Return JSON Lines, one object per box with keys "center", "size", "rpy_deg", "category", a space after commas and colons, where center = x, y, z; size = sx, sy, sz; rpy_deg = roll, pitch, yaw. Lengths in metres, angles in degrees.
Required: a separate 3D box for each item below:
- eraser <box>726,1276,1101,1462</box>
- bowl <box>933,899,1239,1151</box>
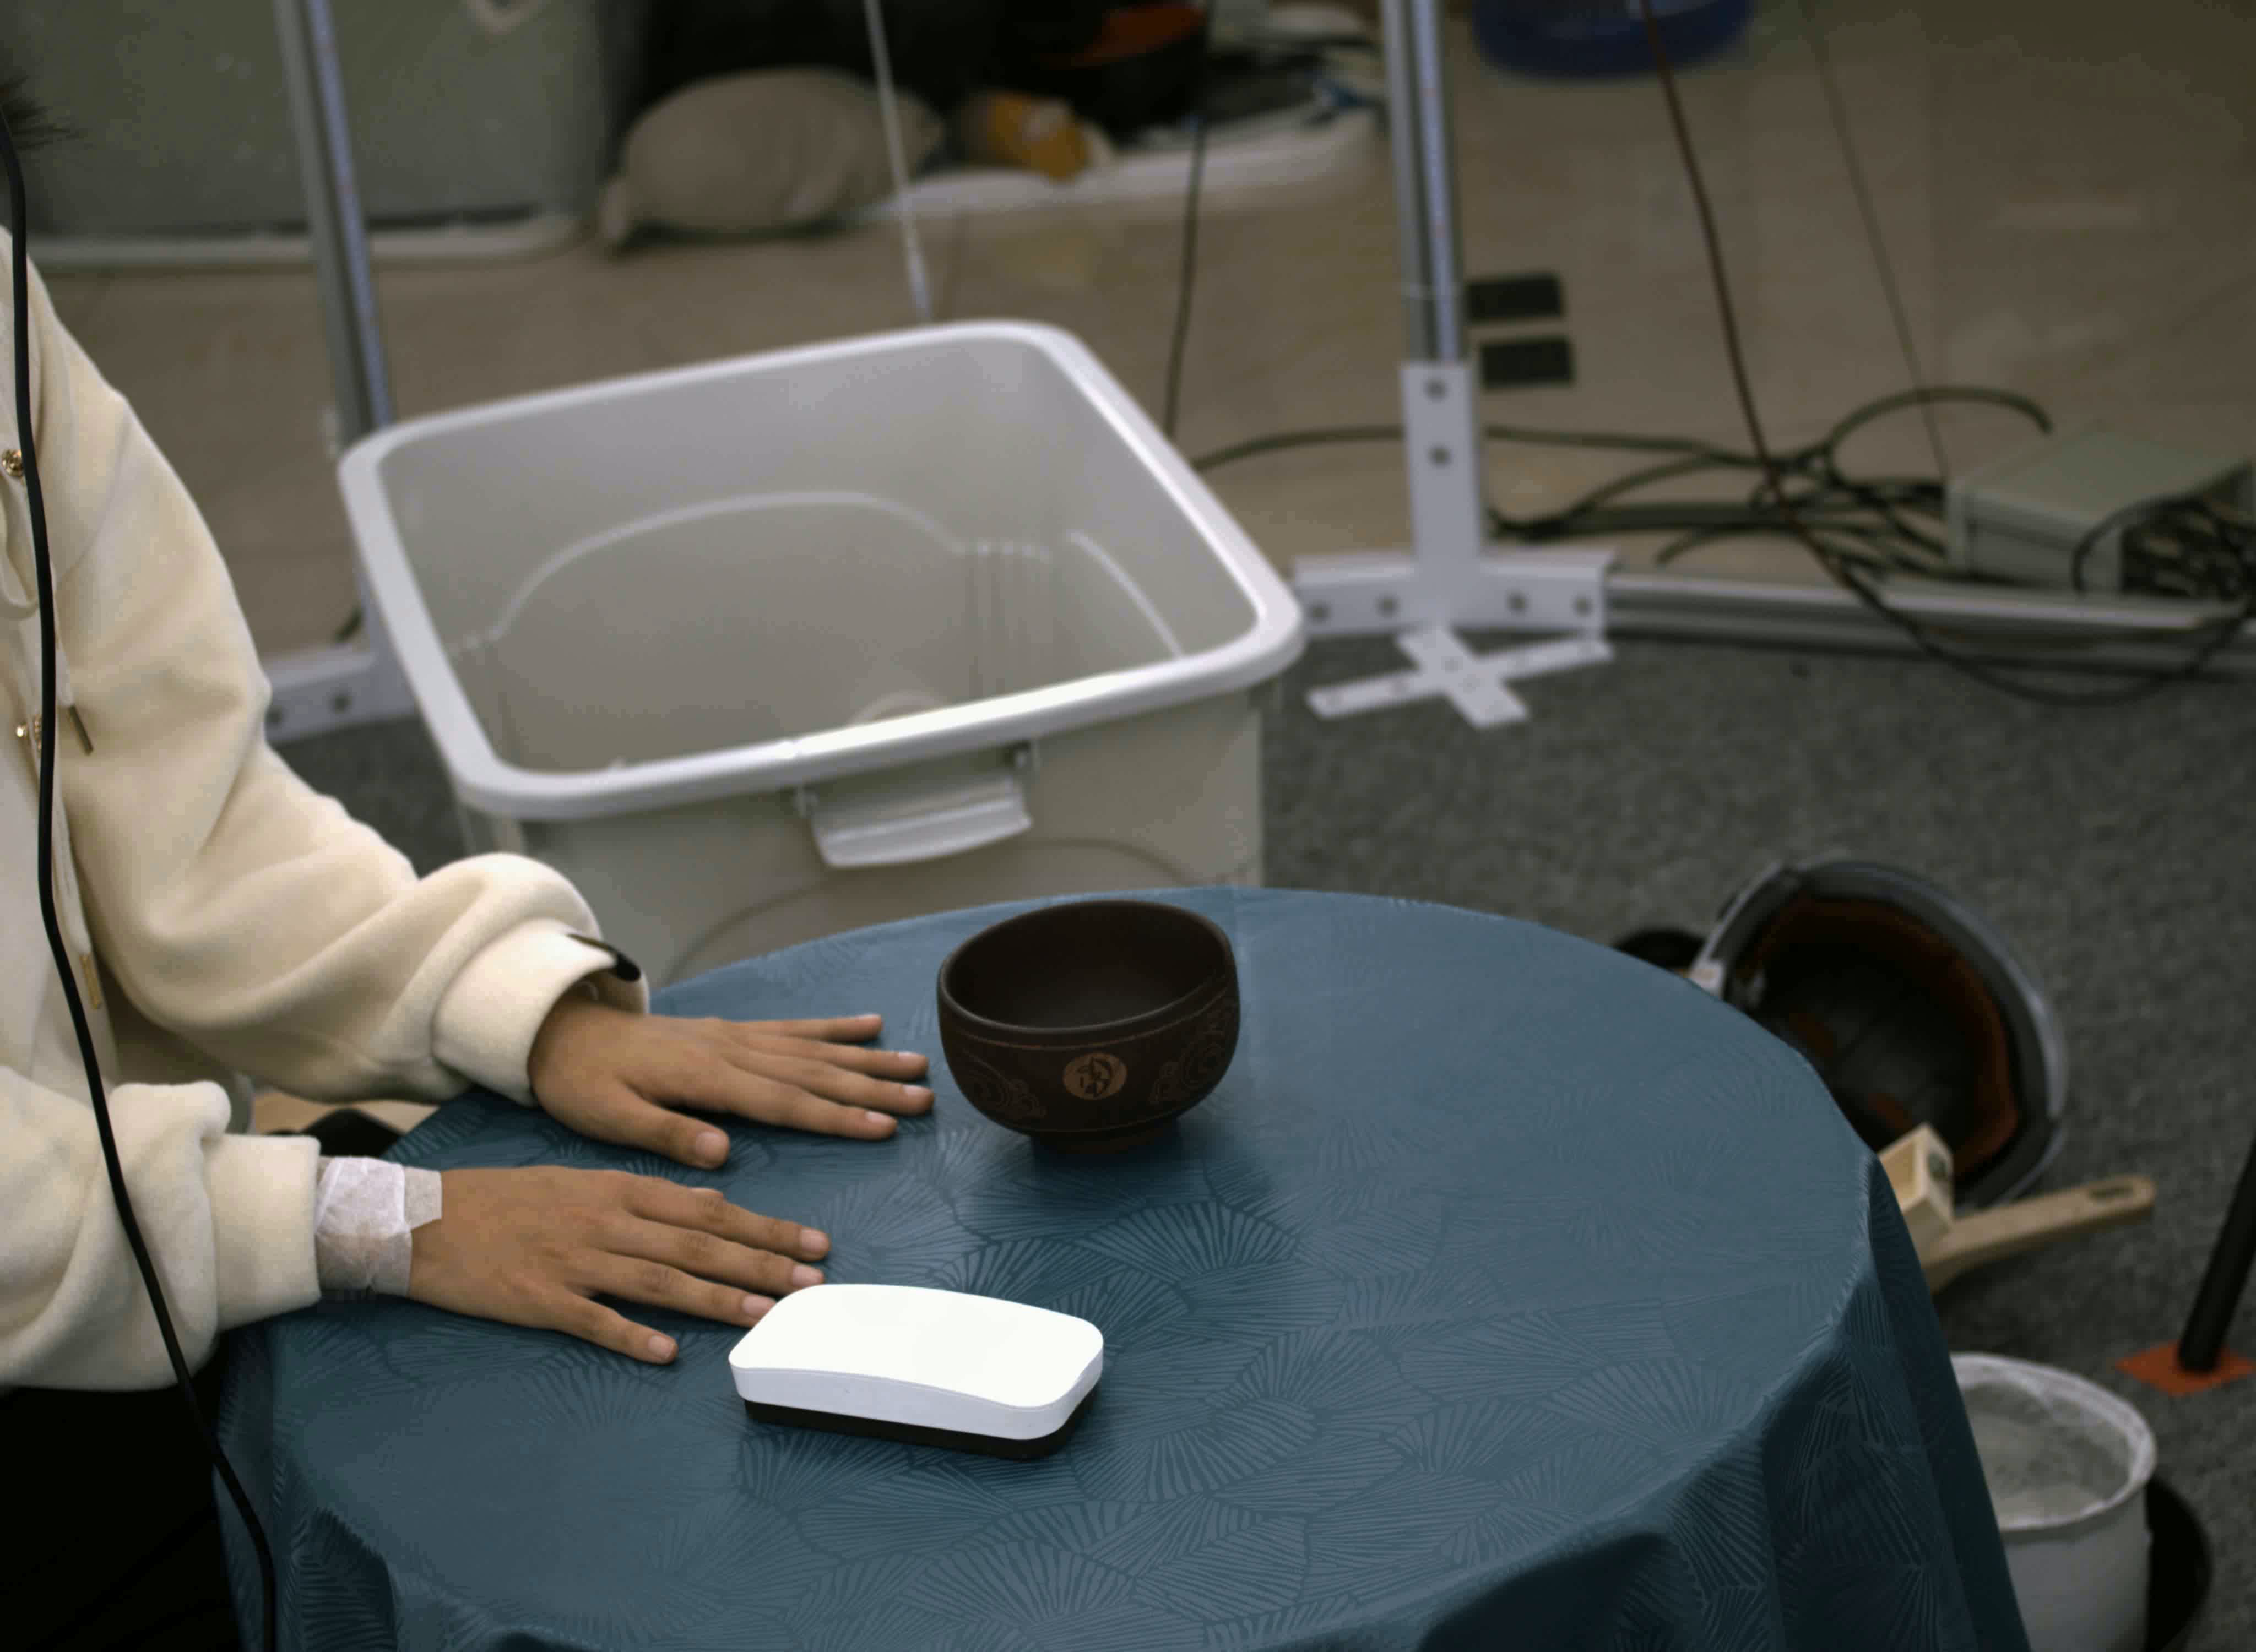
{"center": [-0.075, 0.192, 2.017], "size": [0.131, 0.035, 0.062], "rpy_deg": [6, 27, 24], "category": "eraser"}
{"center": [-0.014, 0.082, 2.186], "size": [0.118, 0.071, 0.116], "rpy_deg": [-6, 23, 3], "category": "bowl"}
